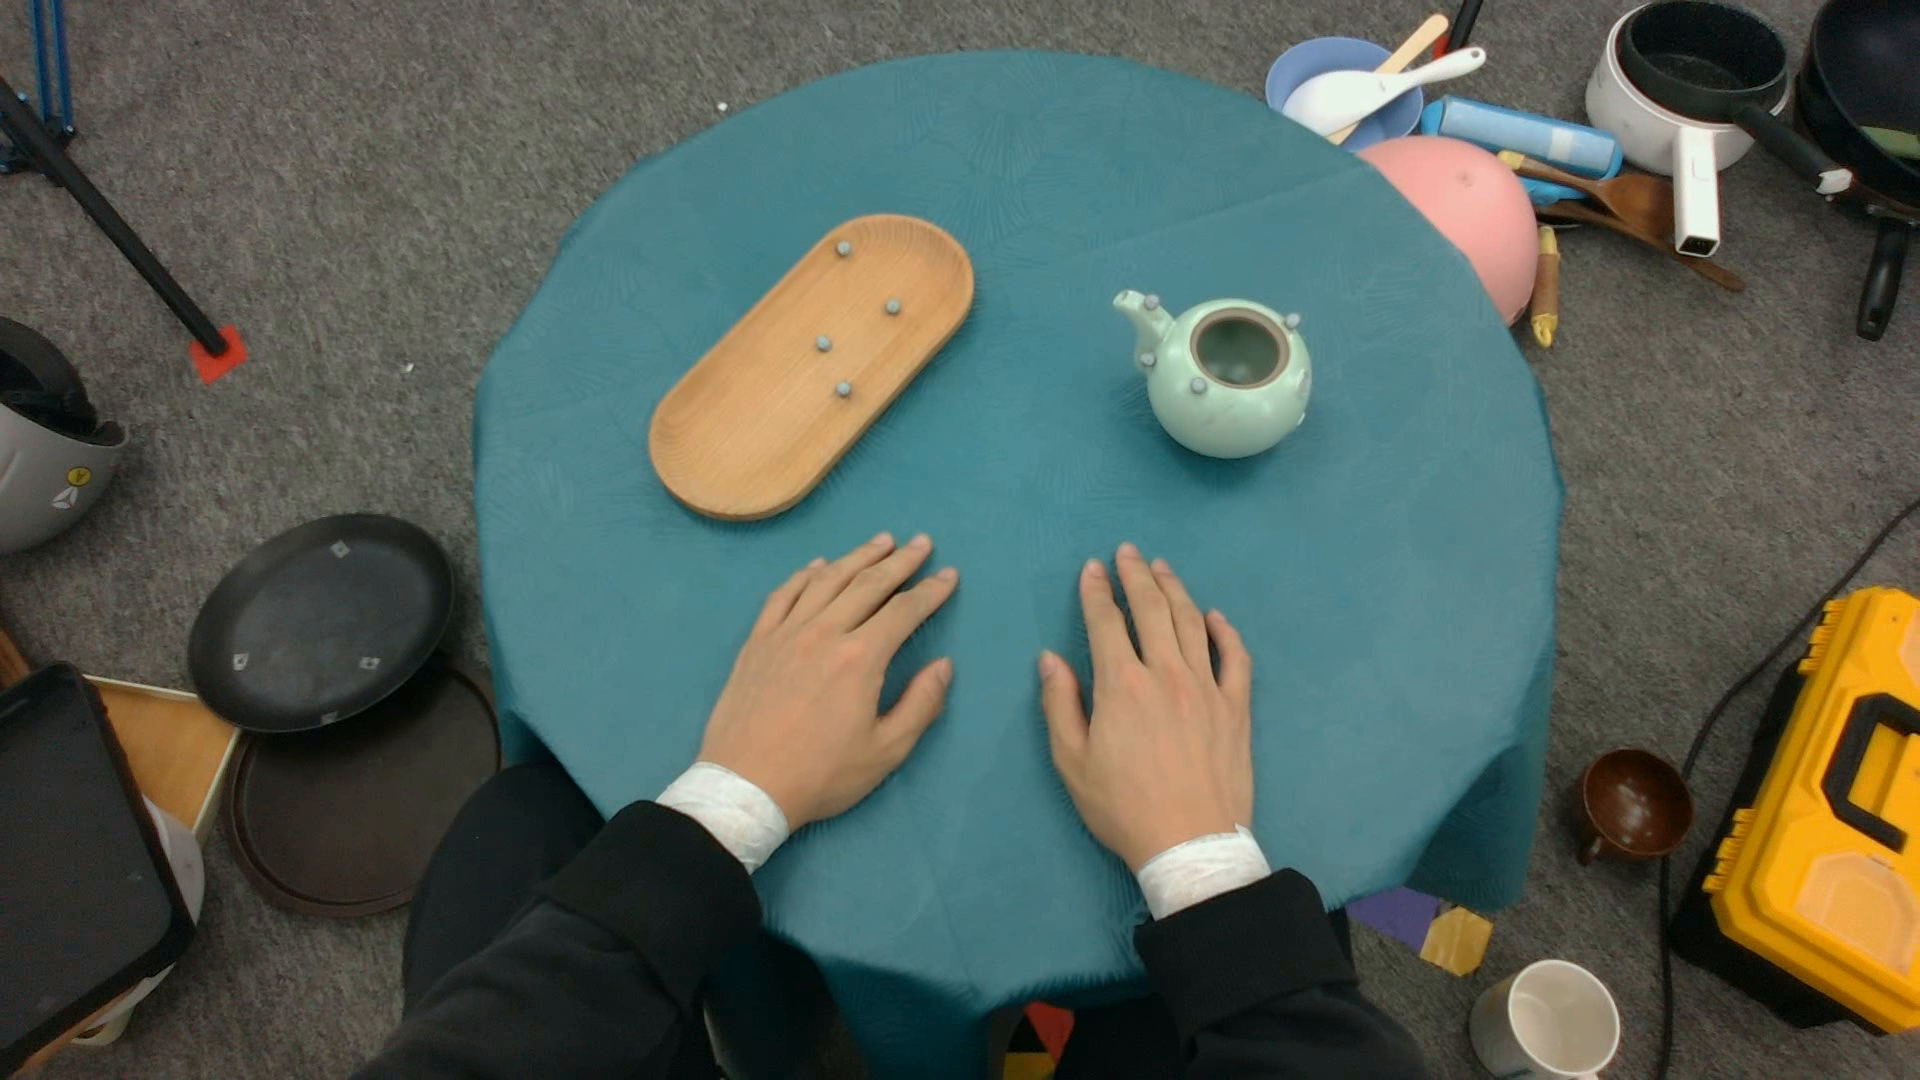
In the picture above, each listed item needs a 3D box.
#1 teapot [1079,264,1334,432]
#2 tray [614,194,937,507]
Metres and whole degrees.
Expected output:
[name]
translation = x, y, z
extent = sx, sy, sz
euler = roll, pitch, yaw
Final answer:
[teapot]
translation = 0.130, -0.103, 0.752
extent = 0.144, 0.074, 0.088
euler = 24, 65, 12
[tray]
translation = -0.101, -0.111, 0.781
extent = 0.101, 0.020, 0.232
euler = 31, 68, 15
